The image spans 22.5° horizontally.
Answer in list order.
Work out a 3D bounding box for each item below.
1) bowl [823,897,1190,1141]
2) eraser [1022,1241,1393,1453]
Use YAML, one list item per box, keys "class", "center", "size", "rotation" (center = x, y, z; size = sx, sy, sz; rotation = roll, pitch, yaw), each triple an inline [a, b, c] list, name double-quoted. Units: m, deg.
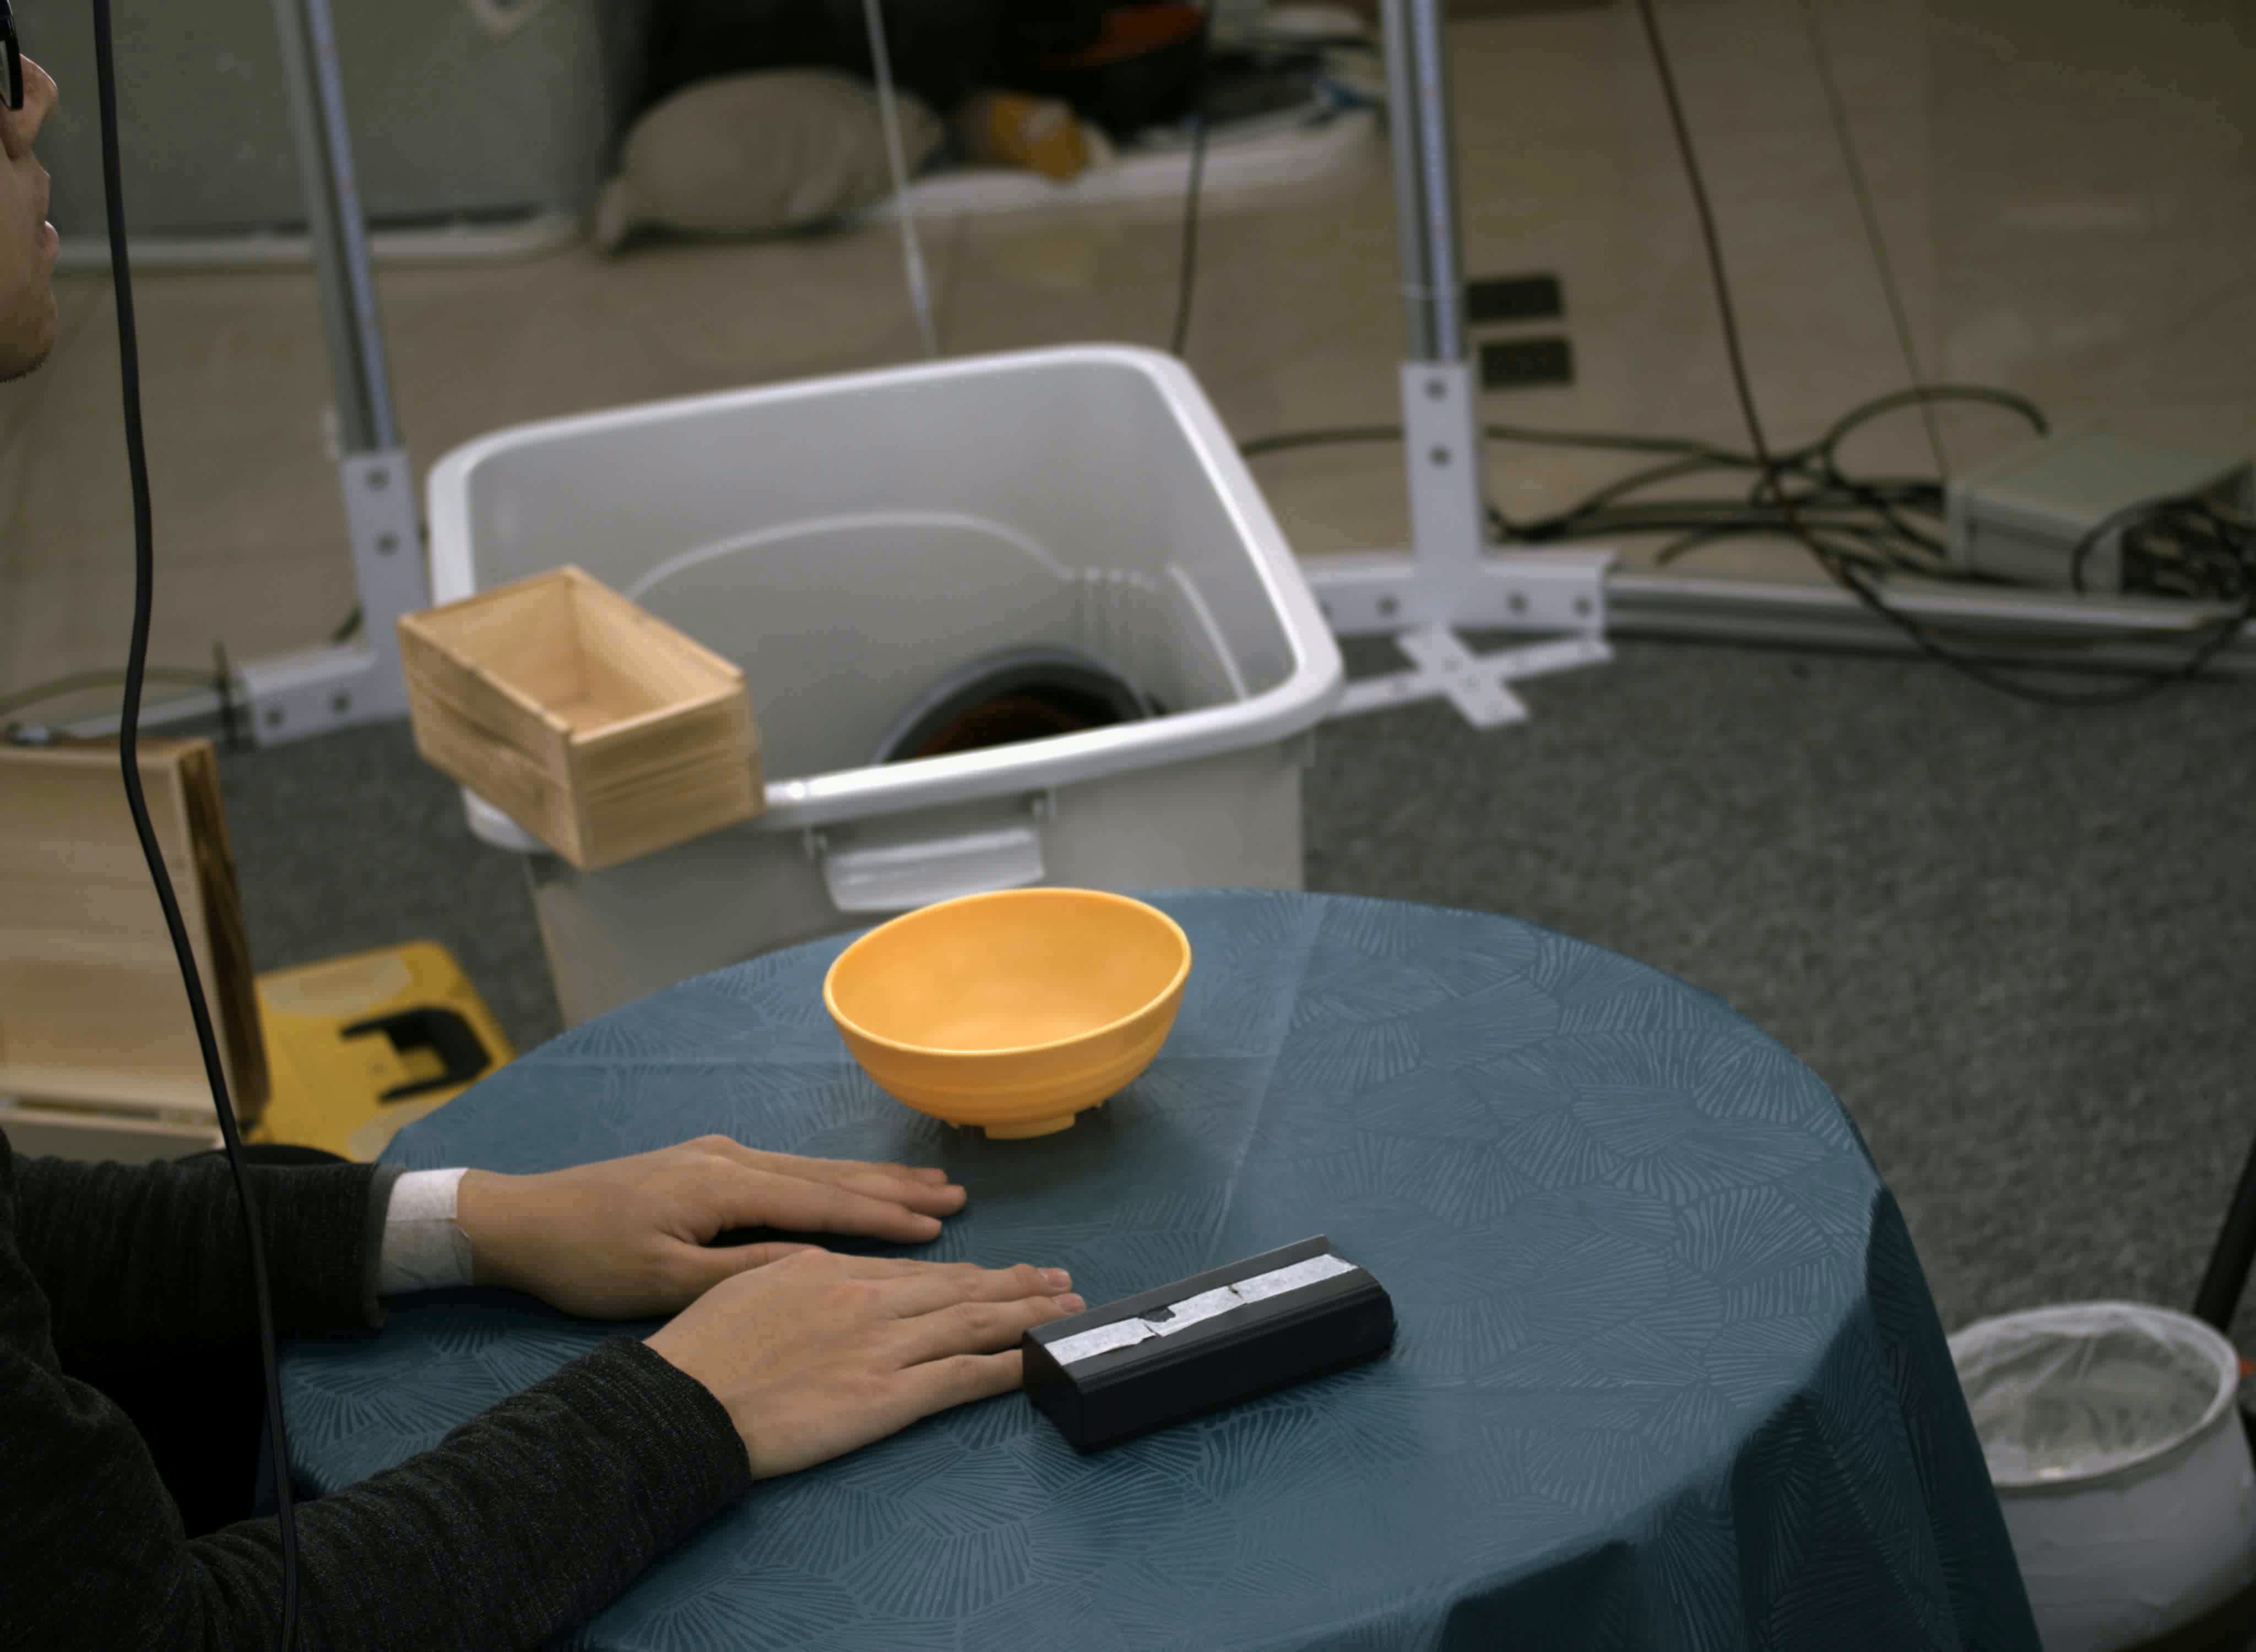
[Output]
- class: "bowl"
  center: [-0.043, 0.082, 2.210]
  size: [0.145, 0.061, 0.143]
  rotation: [-7, 23, 3]
- class: "eraser"
  center: [0.029, 0.183, 2.012]
  size: [0.125, 0.031, 0.053]
  rotation: [-17, 24, -21]
